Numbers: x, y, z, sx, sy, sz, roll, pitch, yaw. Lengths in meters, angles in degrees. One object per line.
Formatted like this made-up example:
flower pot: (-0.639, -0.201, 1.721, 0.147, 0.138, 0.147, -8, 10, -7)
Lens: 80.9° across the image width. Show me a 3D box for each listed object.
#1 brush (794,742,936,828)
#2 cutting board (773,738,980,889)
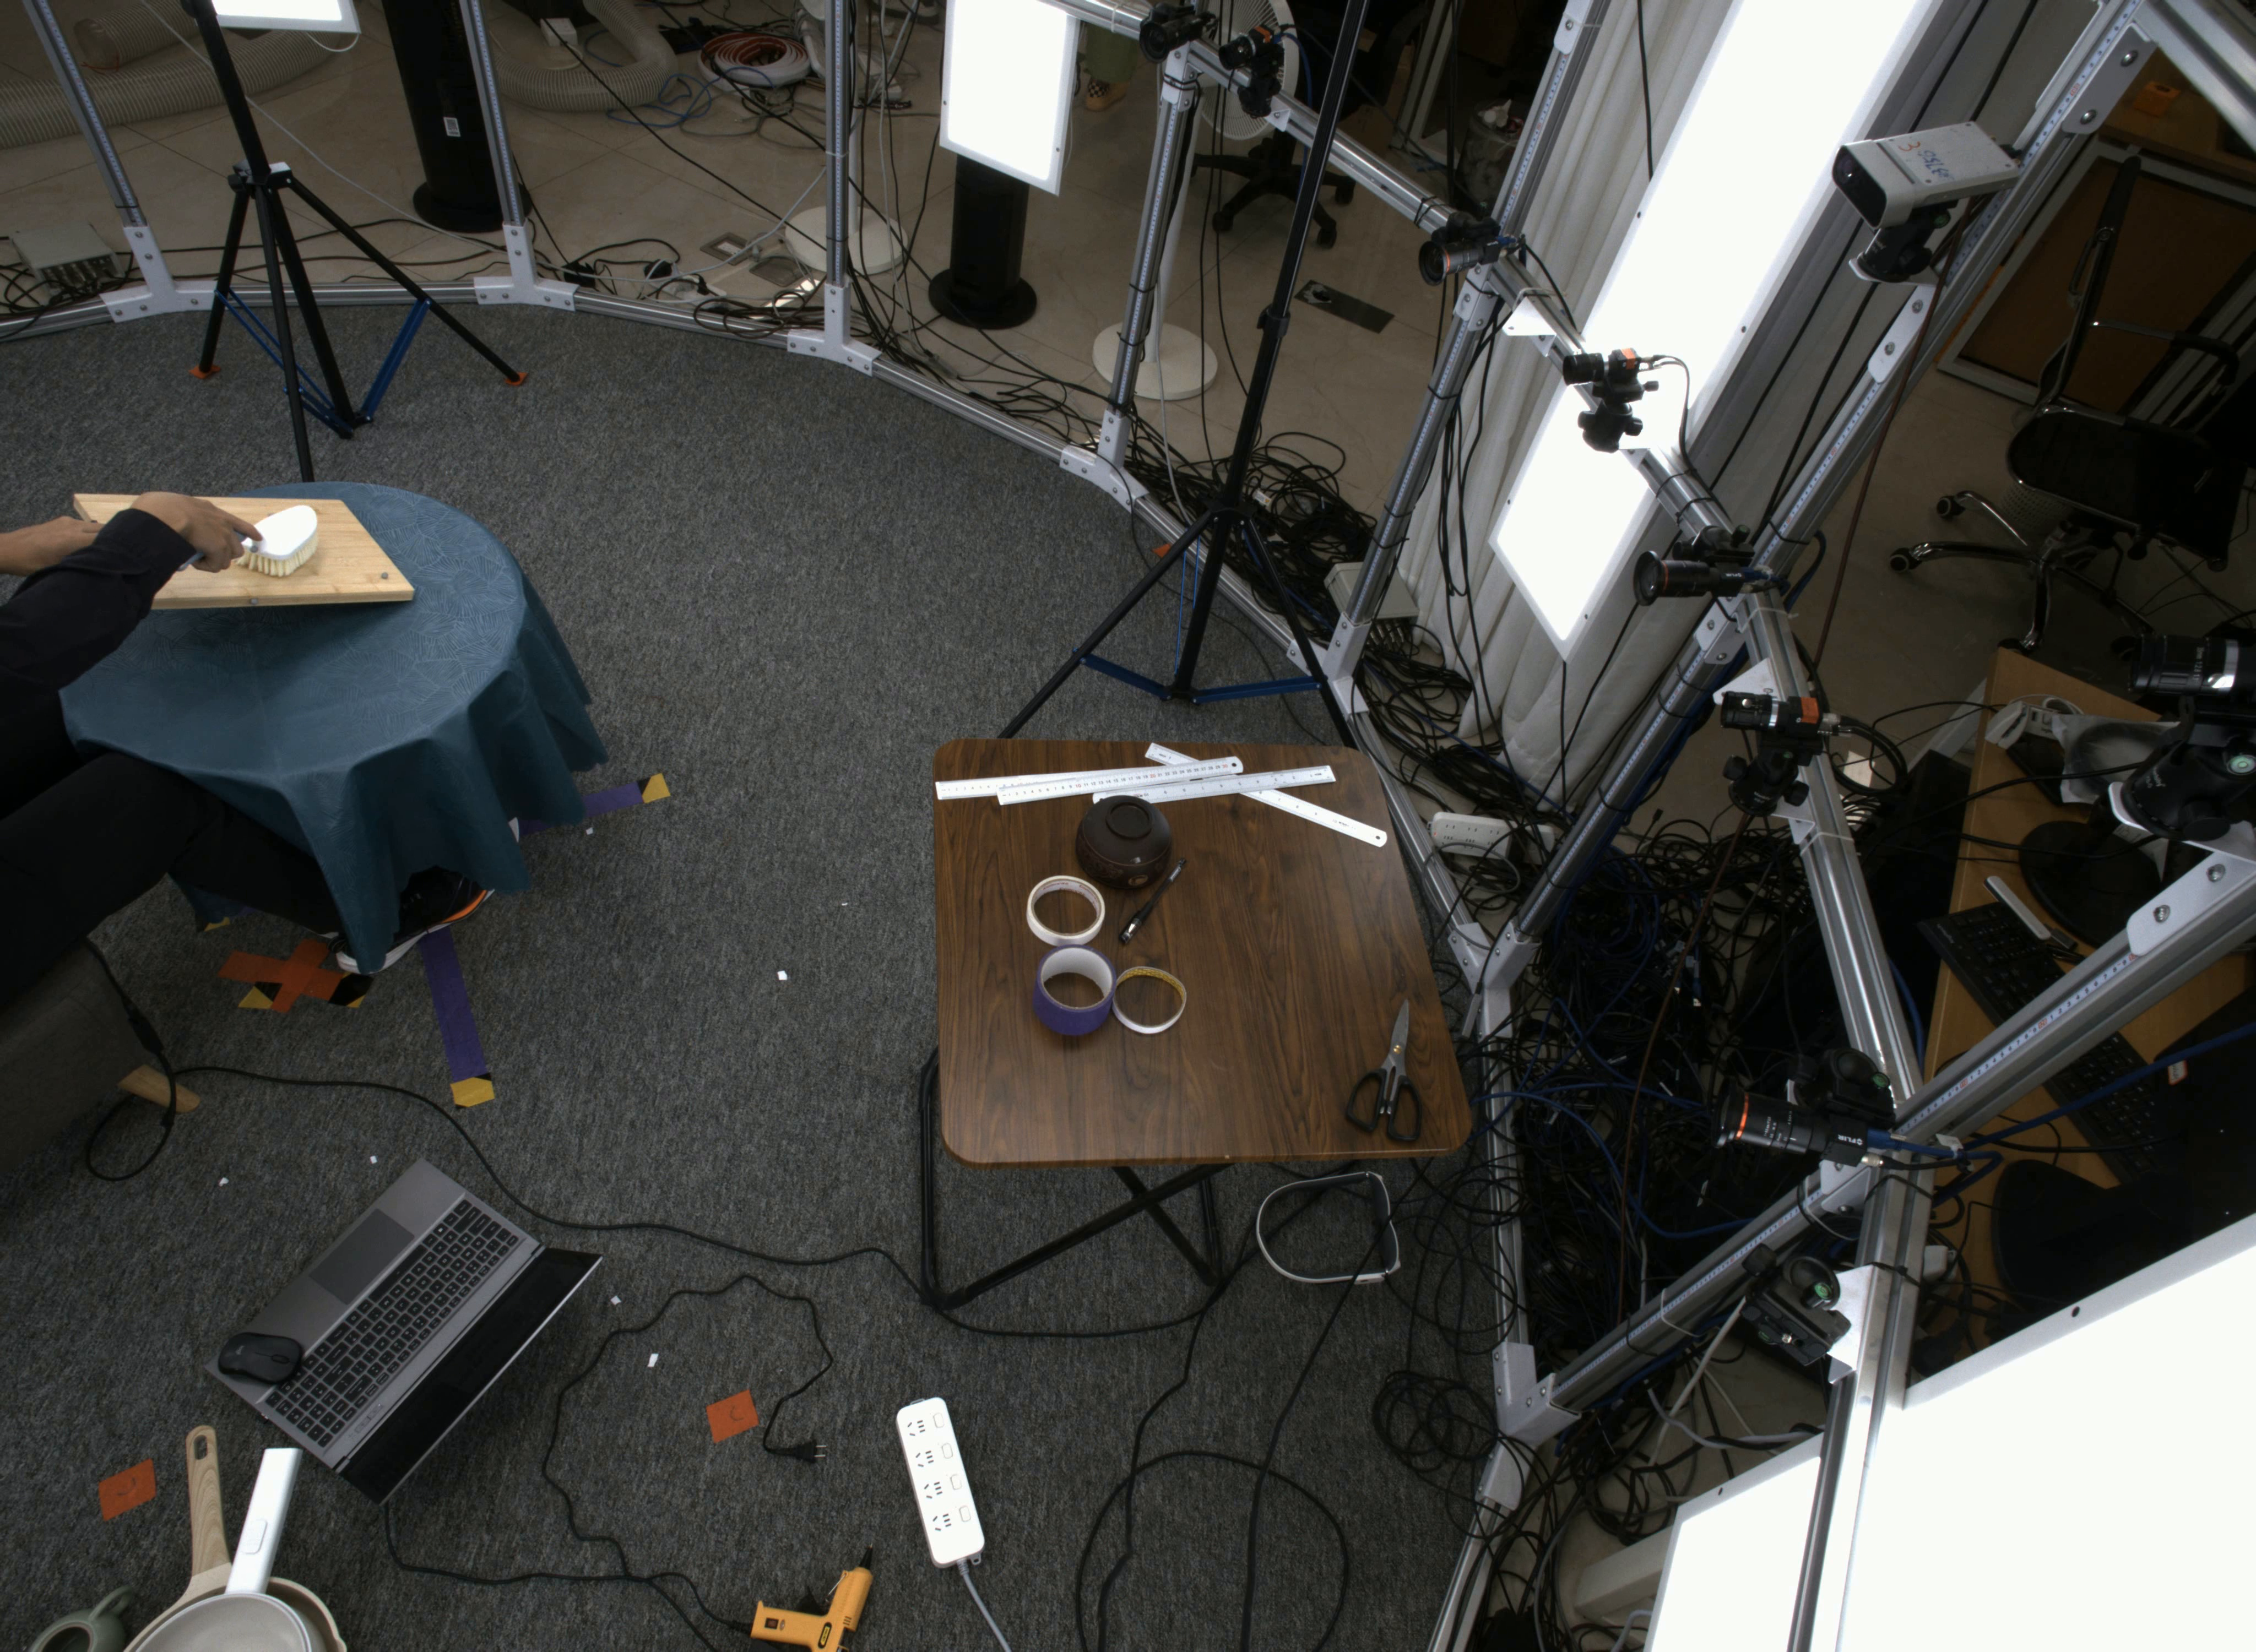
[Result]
brush: (-0.409, -0.049, 1.972, 0.081, 0.084, 0.334, -10, -14, 25)
cutting board: (-0.401, -0.021, 2.087, 0.356, 0.024, 0.243, 25, 16, -25)
